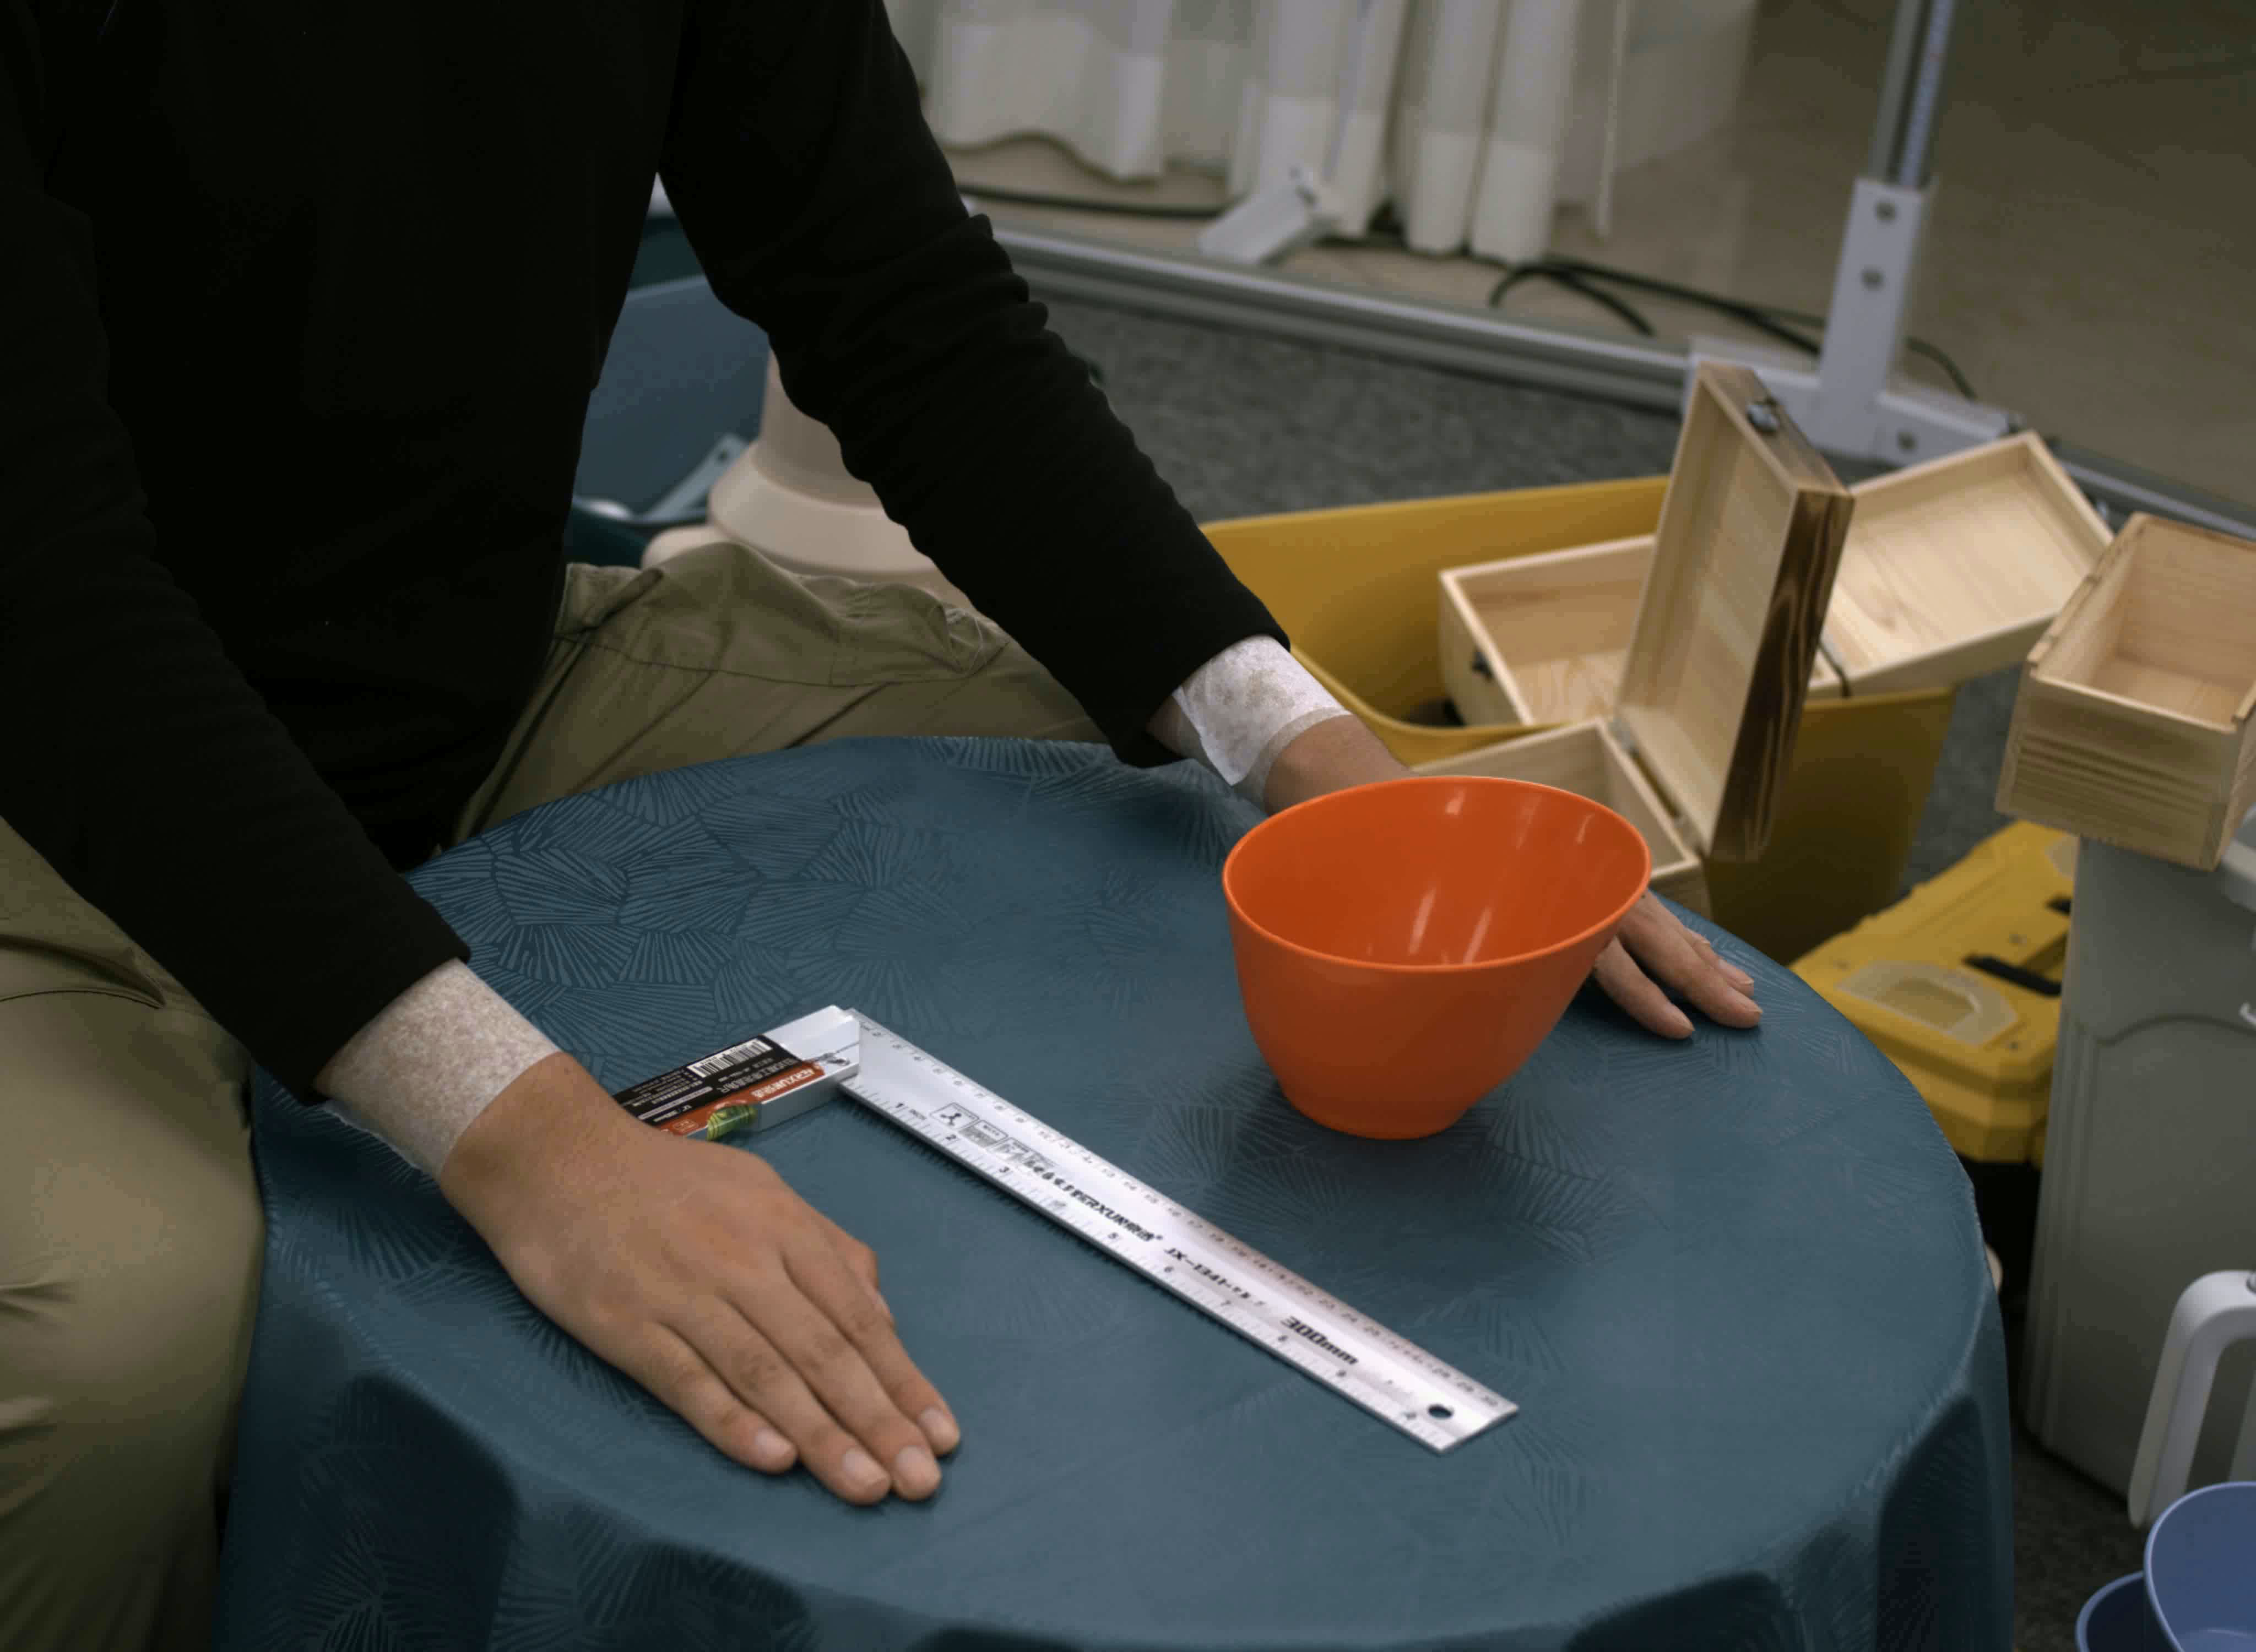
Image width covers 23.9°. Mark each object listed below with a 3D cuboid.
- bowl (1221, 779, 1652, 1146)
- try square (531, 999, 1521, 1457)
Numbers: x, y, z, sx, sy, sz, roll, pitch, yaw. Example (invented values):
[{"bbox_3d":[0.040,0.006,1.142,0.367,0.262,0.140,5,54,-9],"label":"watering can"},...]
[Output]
[{"bbox_3d":[0.102,0.052,1.855,0.147,0.104,0.149,4,28,-3],"label":"bowl"},{"bbox_3d":[-0.038,0.149,1.745,0.315,0.016,0.152,29,39,35],"label":"try square"}]
